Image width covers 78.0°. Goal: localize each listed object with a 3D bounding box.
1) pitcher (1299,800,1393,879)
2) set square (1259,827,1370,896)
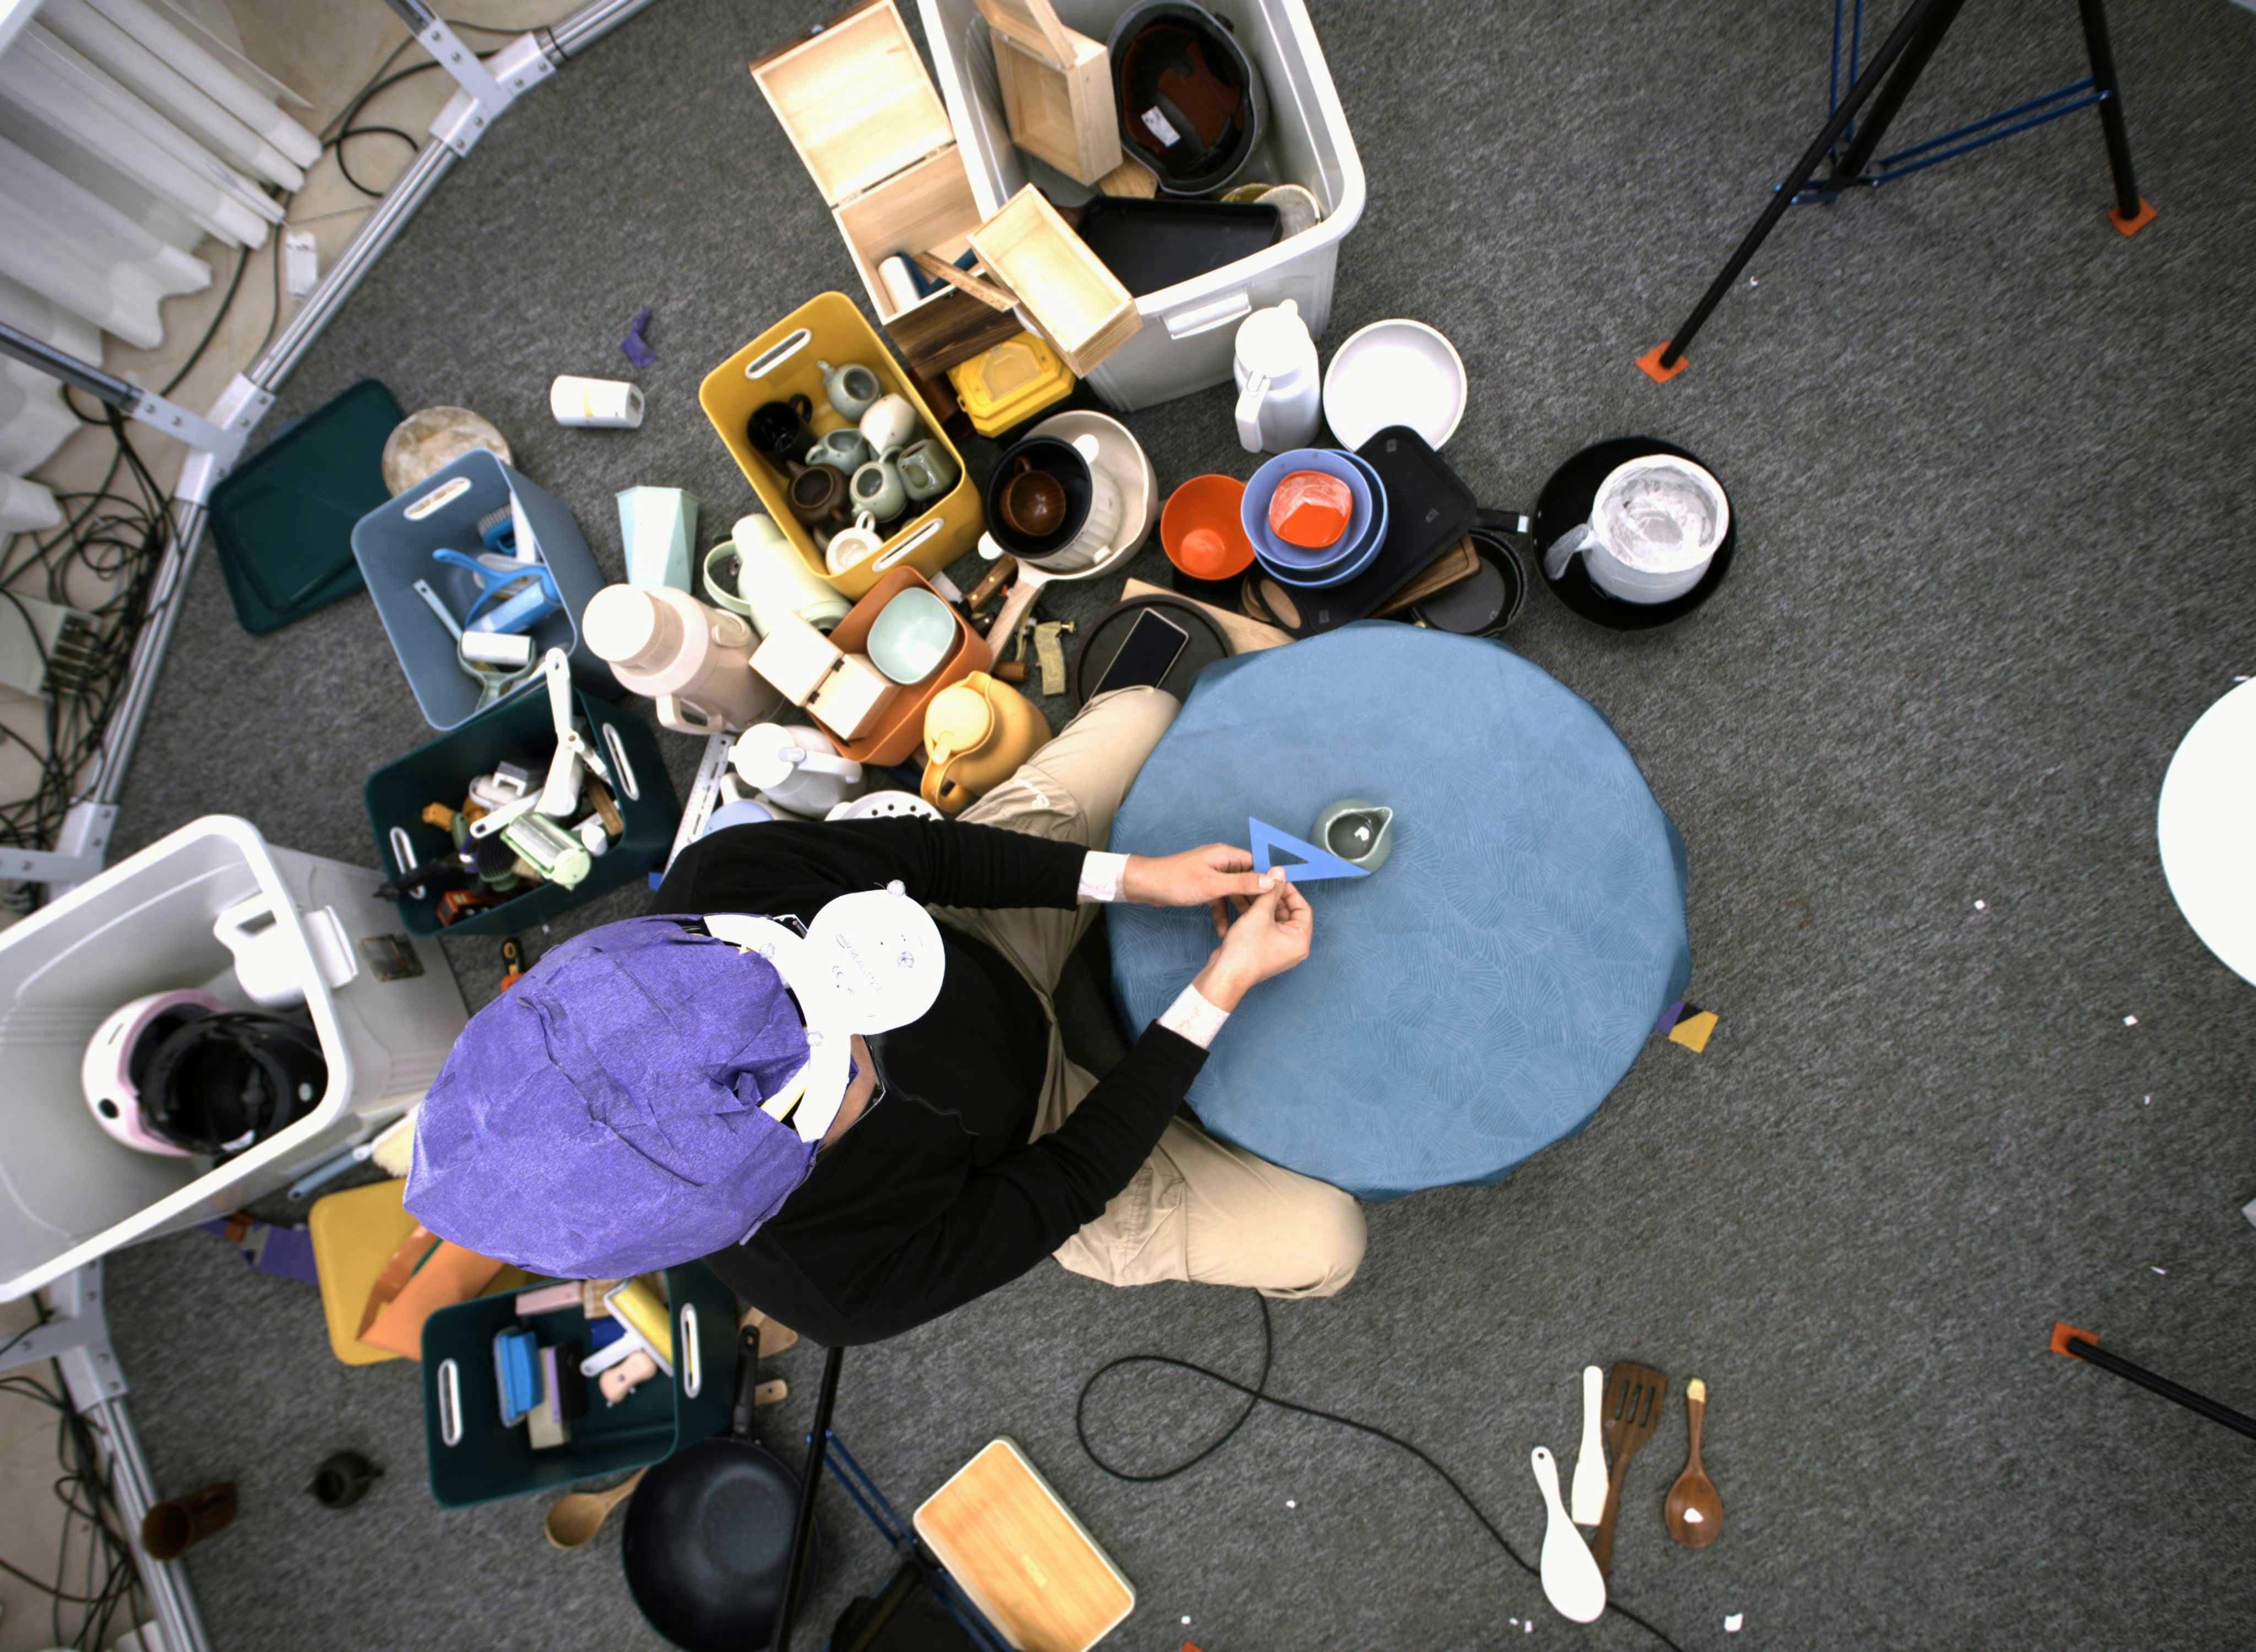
[{"bbox_3d":[0.228,0.015,1.442,0.113,0.056,0.083,-34,79,6],"label":"pitcher"},{"bbox_3d":[0.181,0.054,1.417,0.132,0.006,0.061,28,83,0],"label":"set square"}]
